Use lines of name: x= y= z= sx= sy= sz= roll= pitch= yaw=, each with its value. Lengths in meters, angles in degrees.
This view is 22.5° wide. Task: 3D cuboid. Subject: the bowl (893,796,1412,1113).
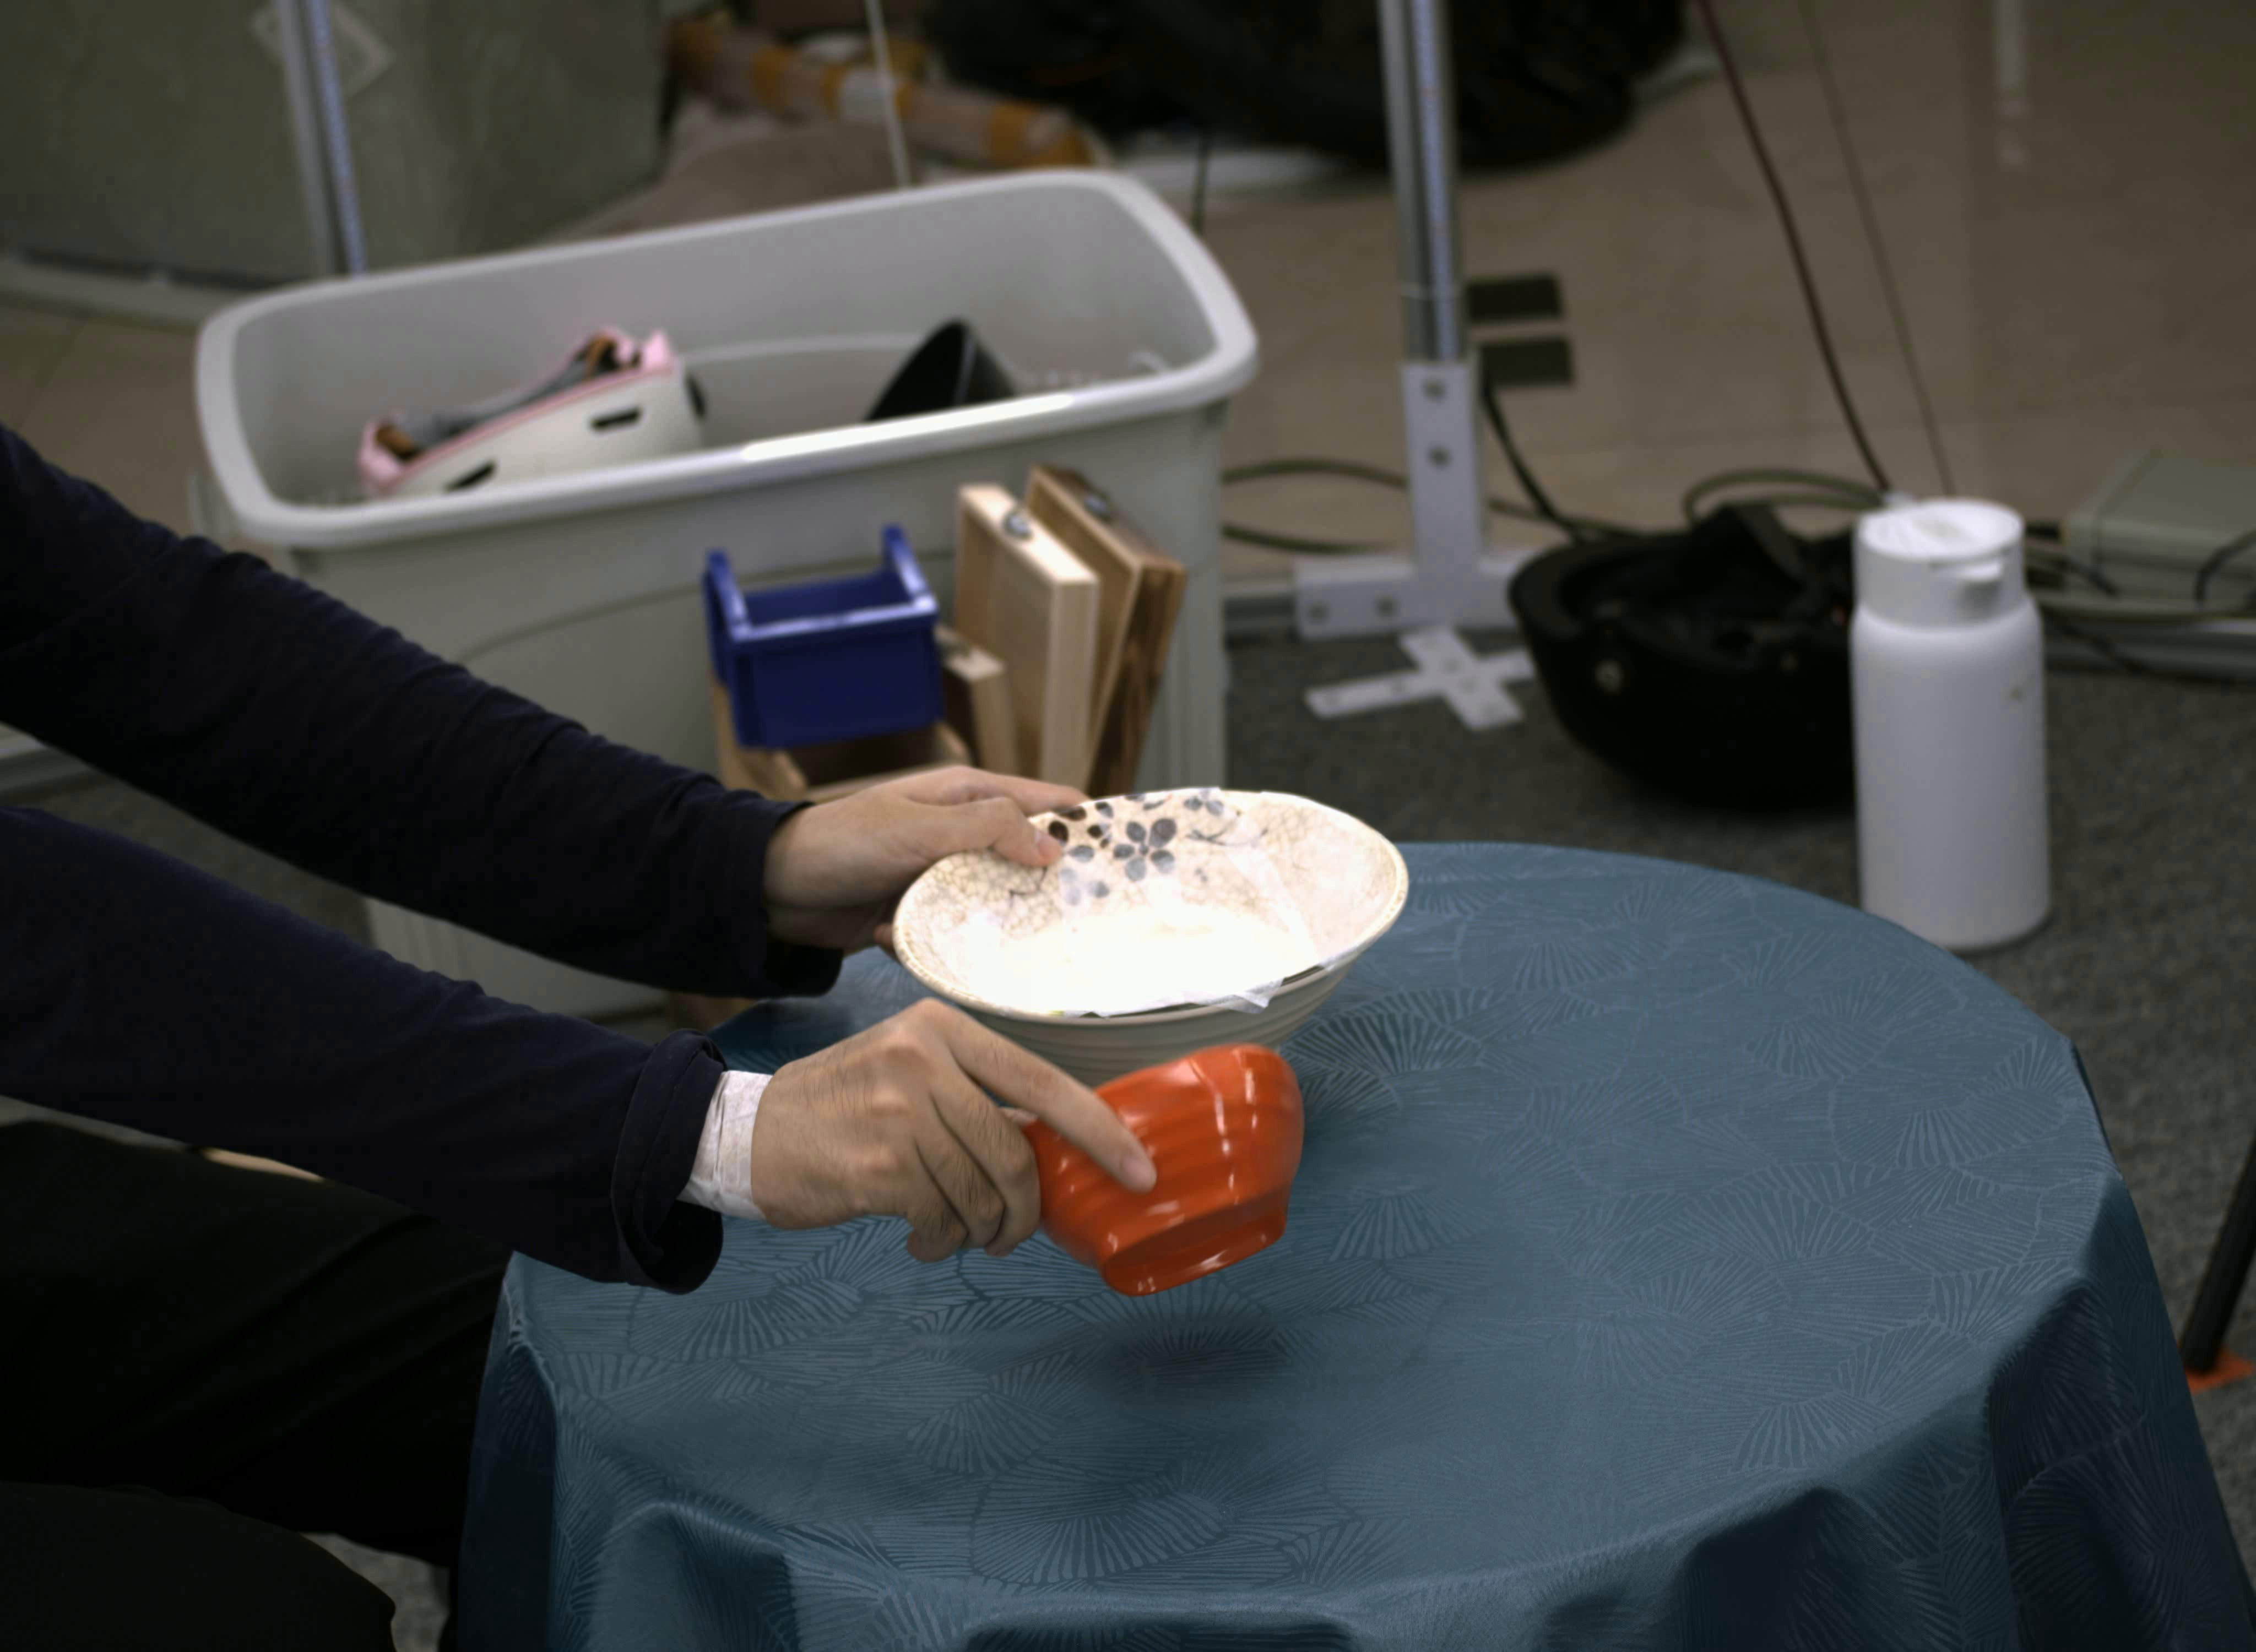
bowl: x=0.013 y=0.063 z=2.221 sx=0.203 sy=0.079 sz=0.201 roll=-6 pitch=24 yaw=3

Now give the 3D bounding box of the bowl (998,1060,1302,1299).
bowl: x=0.014 y=0.130 z=2.000 sx=0.118 sy=0.051 sz=0.120 roll=-17 pitch=-18 yaw=-5
